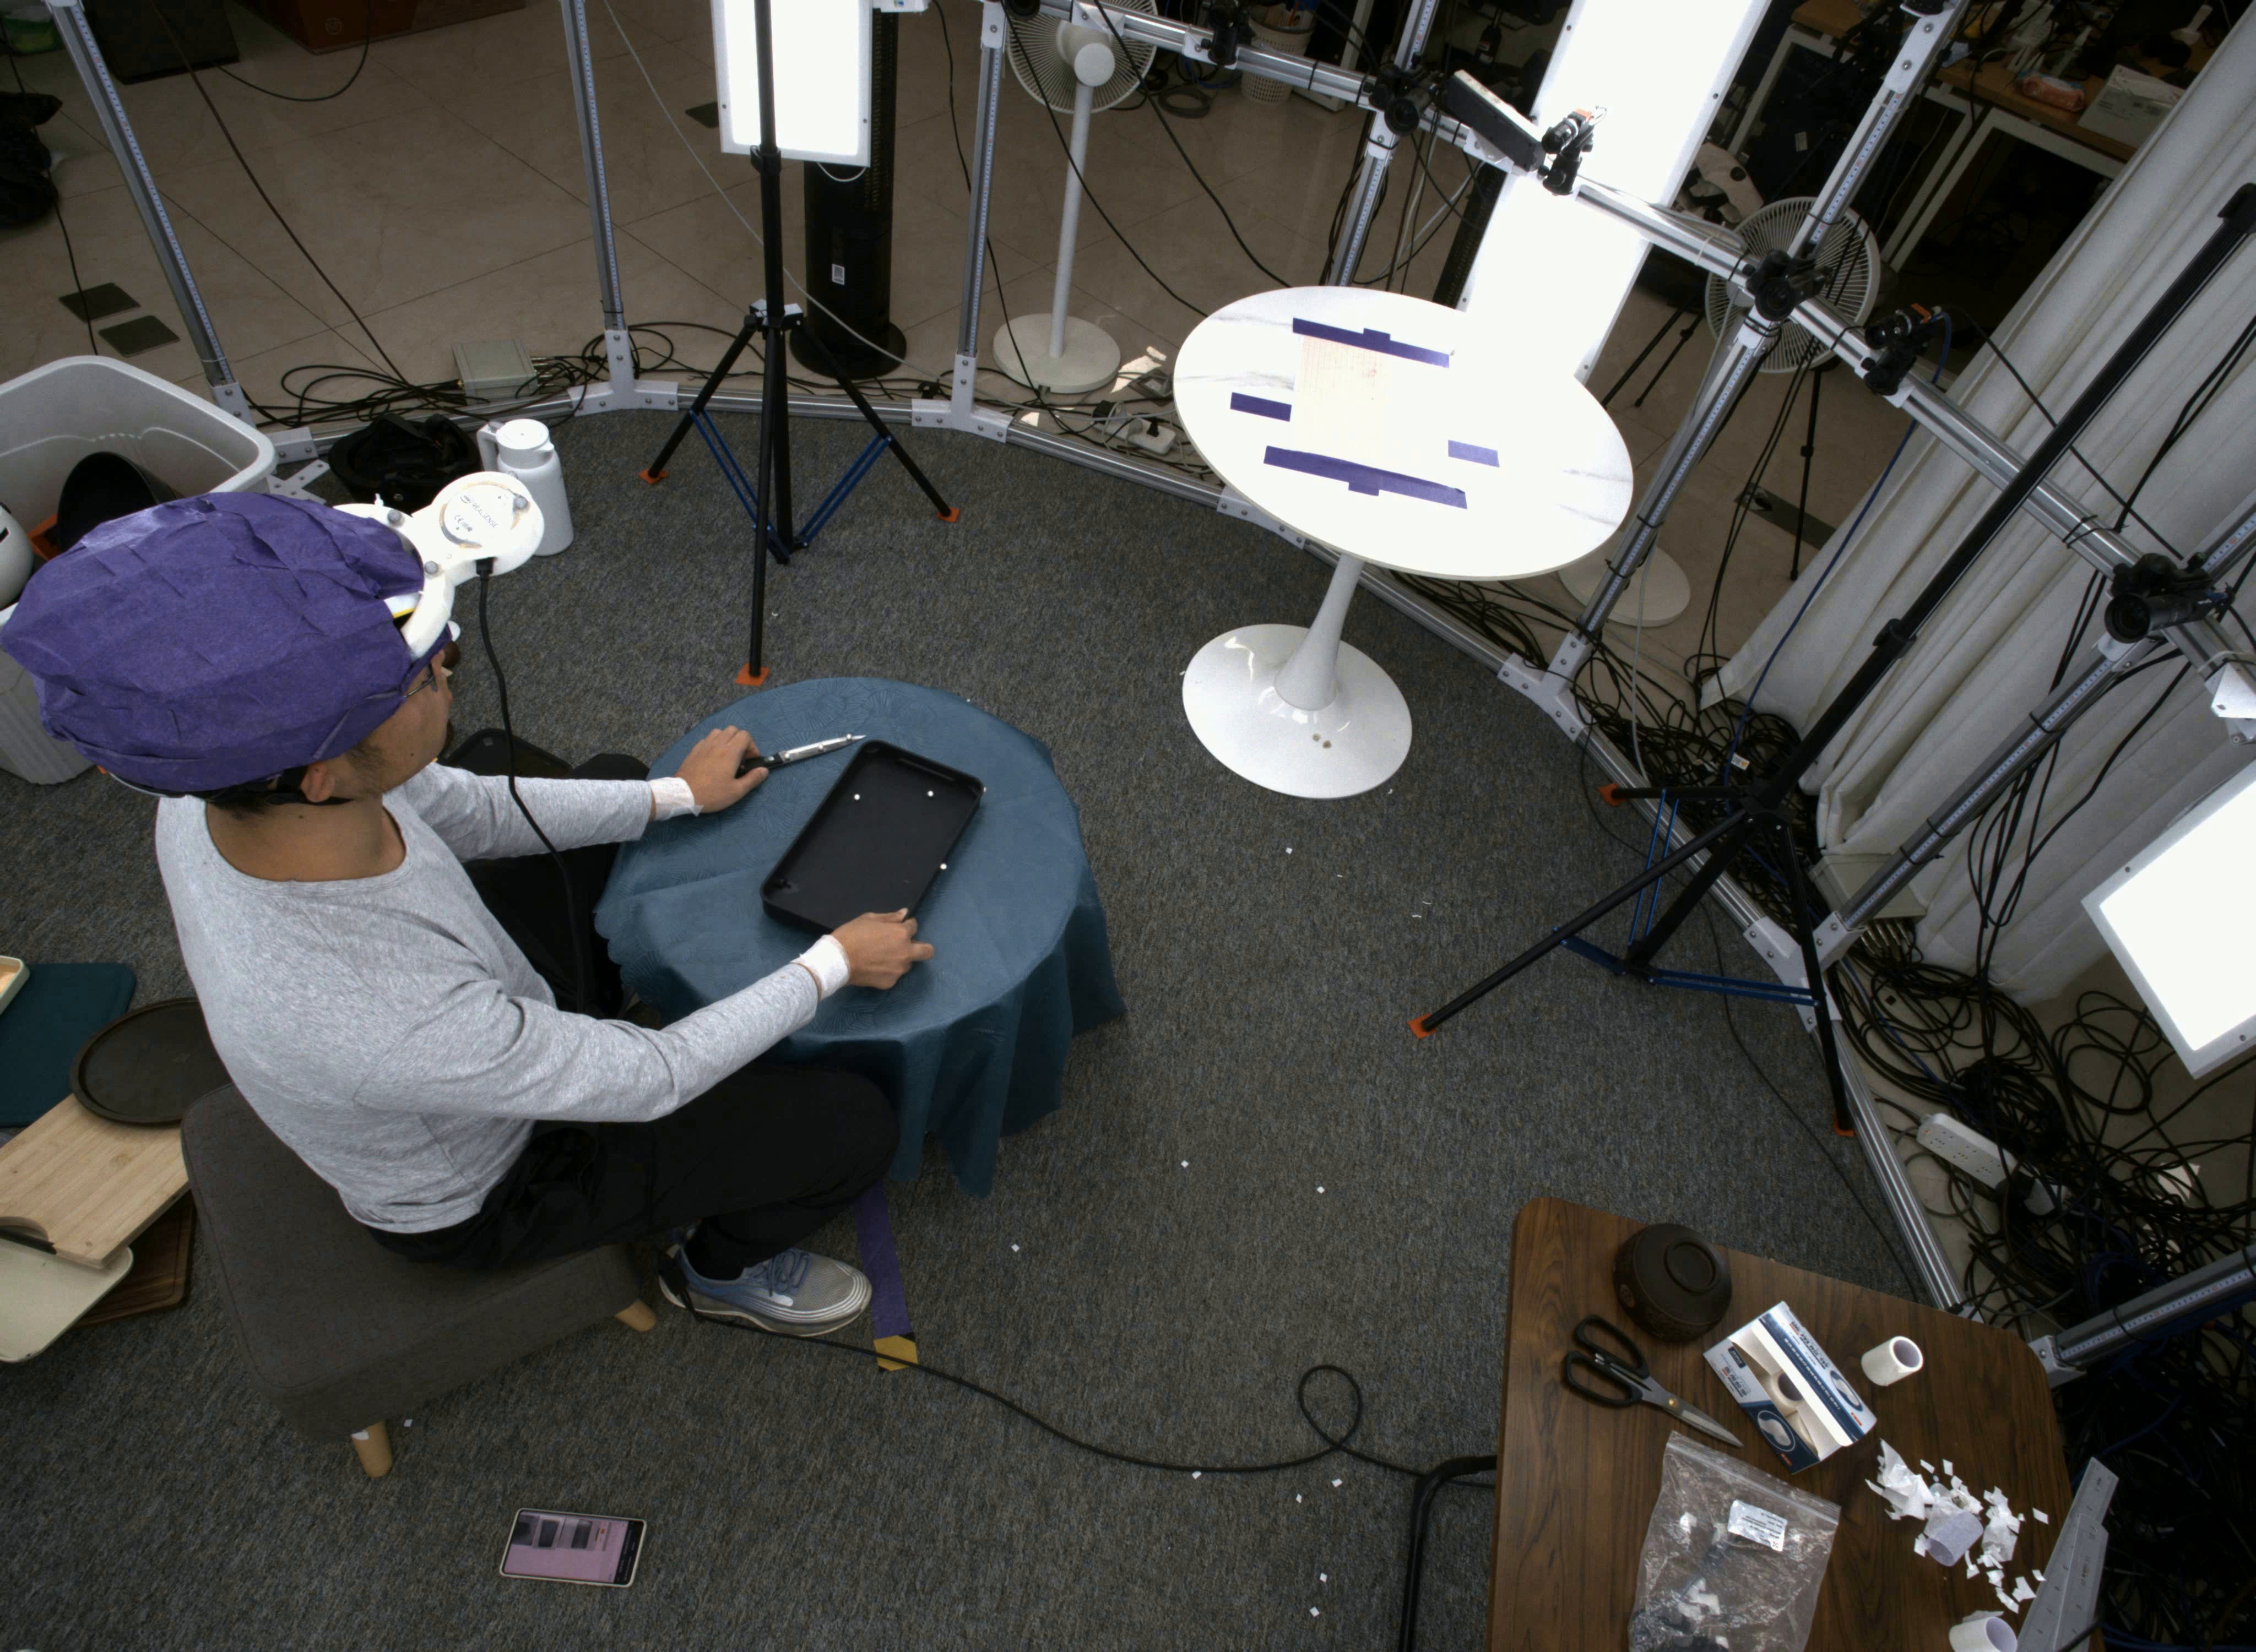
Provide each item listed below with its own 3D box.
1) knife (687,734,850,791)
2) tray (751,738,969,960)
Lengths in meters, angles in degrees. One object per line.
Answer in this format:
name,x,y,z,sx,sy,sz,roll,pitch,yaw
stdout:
knife,-0.490,-0.091,1.779,0.239,0.016,0.024,-21,58,-30
tray,-0.345,0.022,1.707,0.182,0.038,0.314,20,49,1
